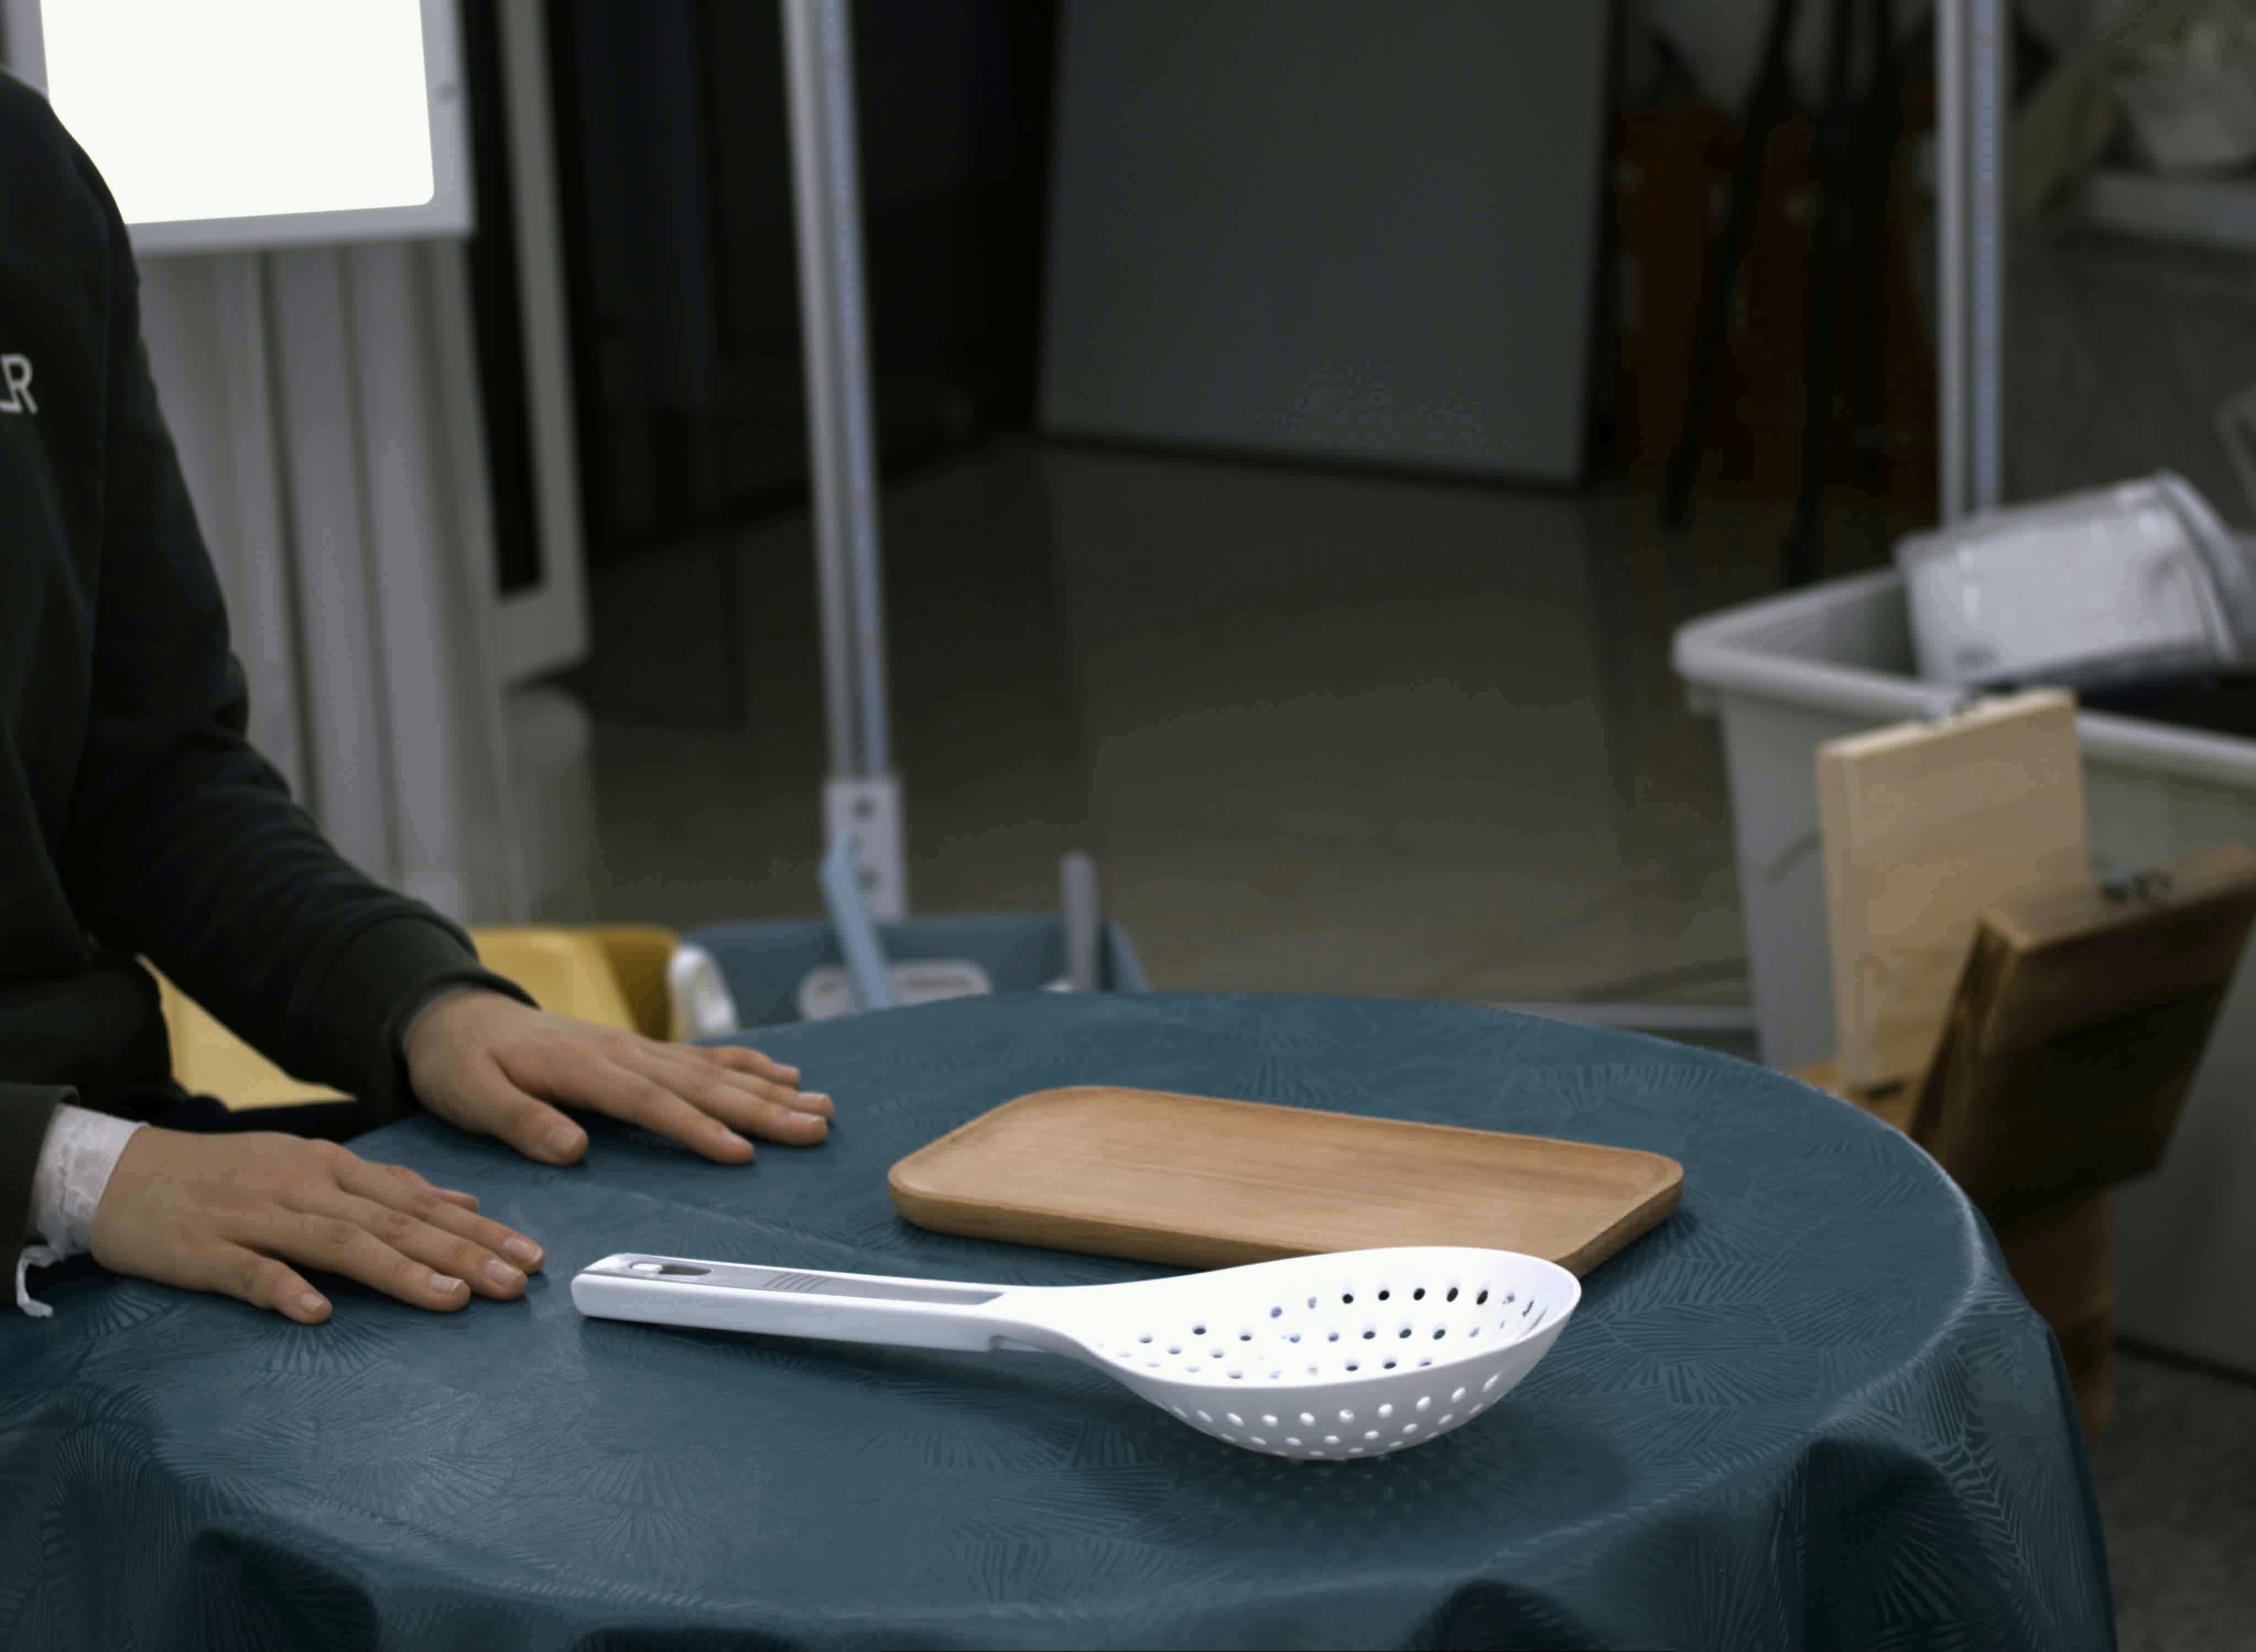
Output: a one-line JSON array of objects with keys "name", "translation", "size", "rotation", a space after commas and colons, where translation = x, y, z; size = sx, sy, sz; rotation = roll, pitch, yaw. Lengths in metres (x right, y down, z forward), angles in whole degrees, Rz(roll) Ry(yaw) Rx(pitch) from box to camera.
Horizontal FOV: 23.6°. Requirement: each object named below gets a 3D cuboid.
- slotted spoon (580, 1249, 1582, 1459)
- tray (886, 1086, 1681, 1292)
[{"name": "slotted spoon", "translation": [-0.025, 0.145, 1.586], "size": [0.352, 0.046, 0.133], "rotation": [5, 14, 36]}, {"name": "tray", "translation": [0.049, 0.118, 1.735], "size": [0.252, 0.023, 0.128], "rotation": [4, 14, 33]}]
